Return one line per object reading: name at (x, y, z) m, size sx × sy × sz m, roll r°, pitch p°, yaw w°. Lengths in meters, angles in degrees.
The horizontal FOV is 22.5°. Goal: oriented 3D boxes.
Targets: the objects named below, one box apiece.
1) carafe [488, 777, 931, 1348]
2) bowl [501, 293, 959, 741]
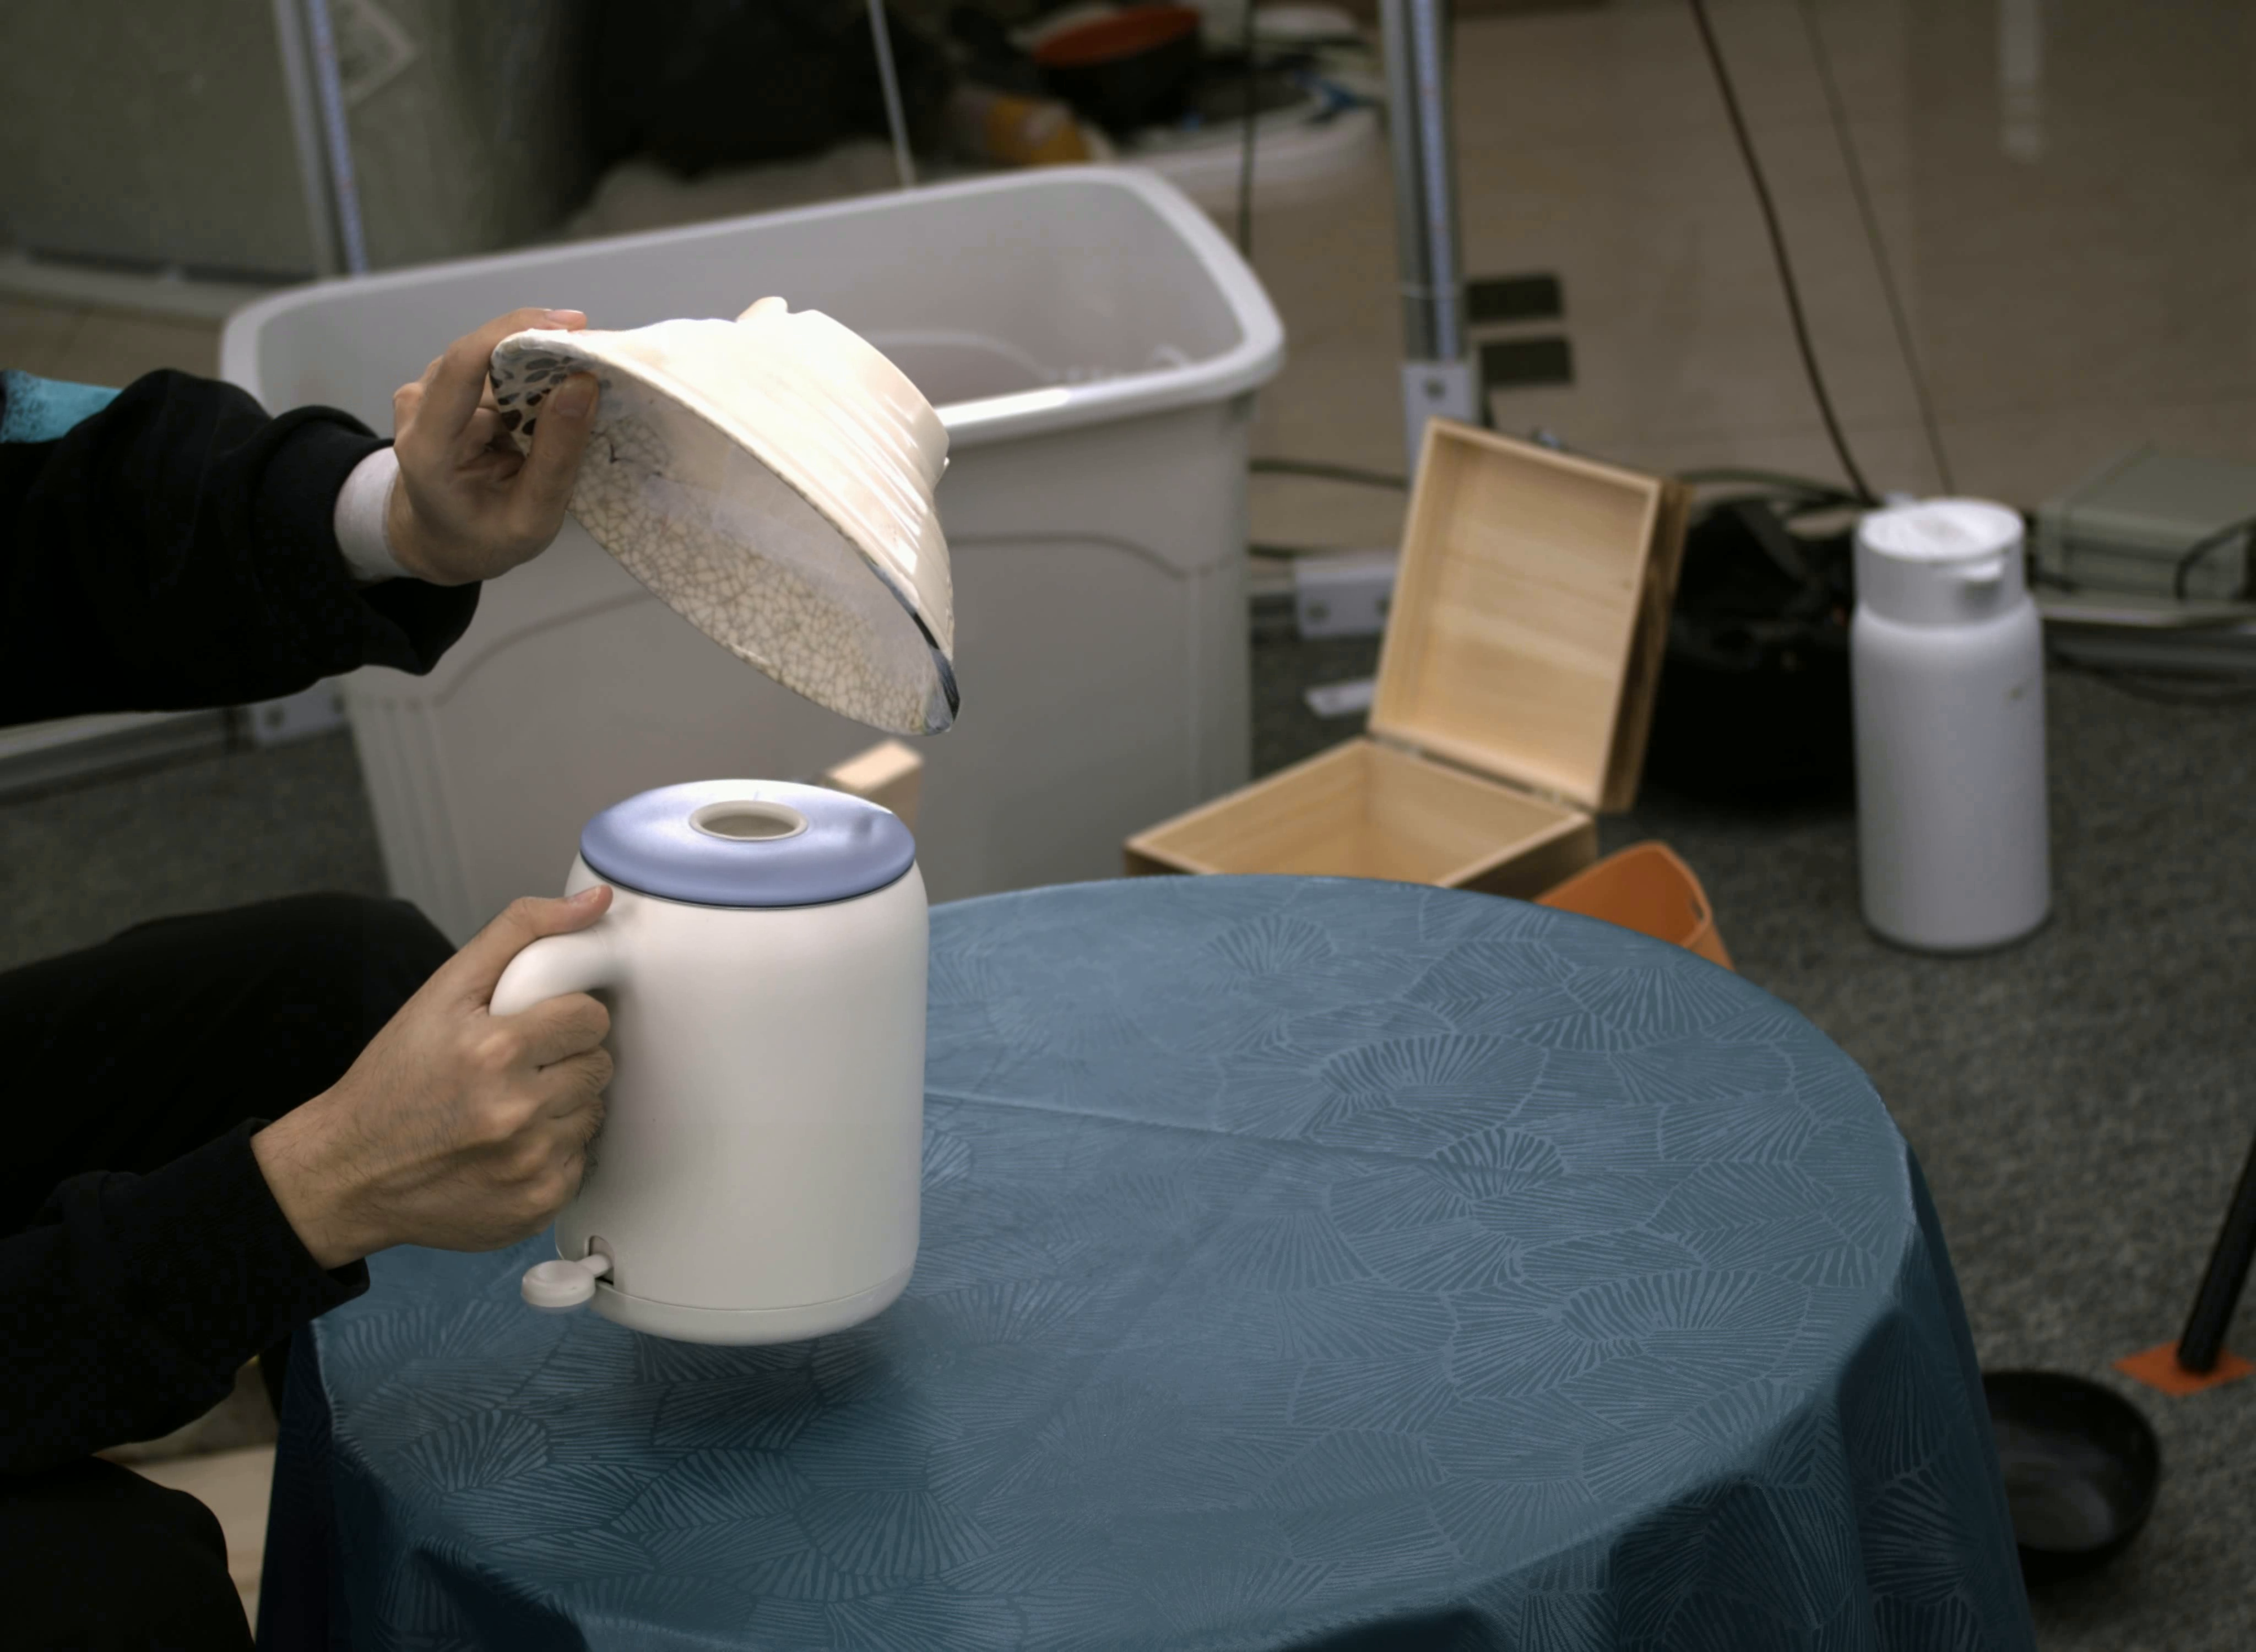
carafe at (-0.153, 0.089, 2.000) m, size 0.131 × 0.185 × 0.190 m, roll 19°, pitch 28°, yaw 40°
bowl at (-0.115, -0.126, 1.947) m, size 0.202 × 0.207 × 0.077 m, roll 24°, pitch 68°, yaw 47°
